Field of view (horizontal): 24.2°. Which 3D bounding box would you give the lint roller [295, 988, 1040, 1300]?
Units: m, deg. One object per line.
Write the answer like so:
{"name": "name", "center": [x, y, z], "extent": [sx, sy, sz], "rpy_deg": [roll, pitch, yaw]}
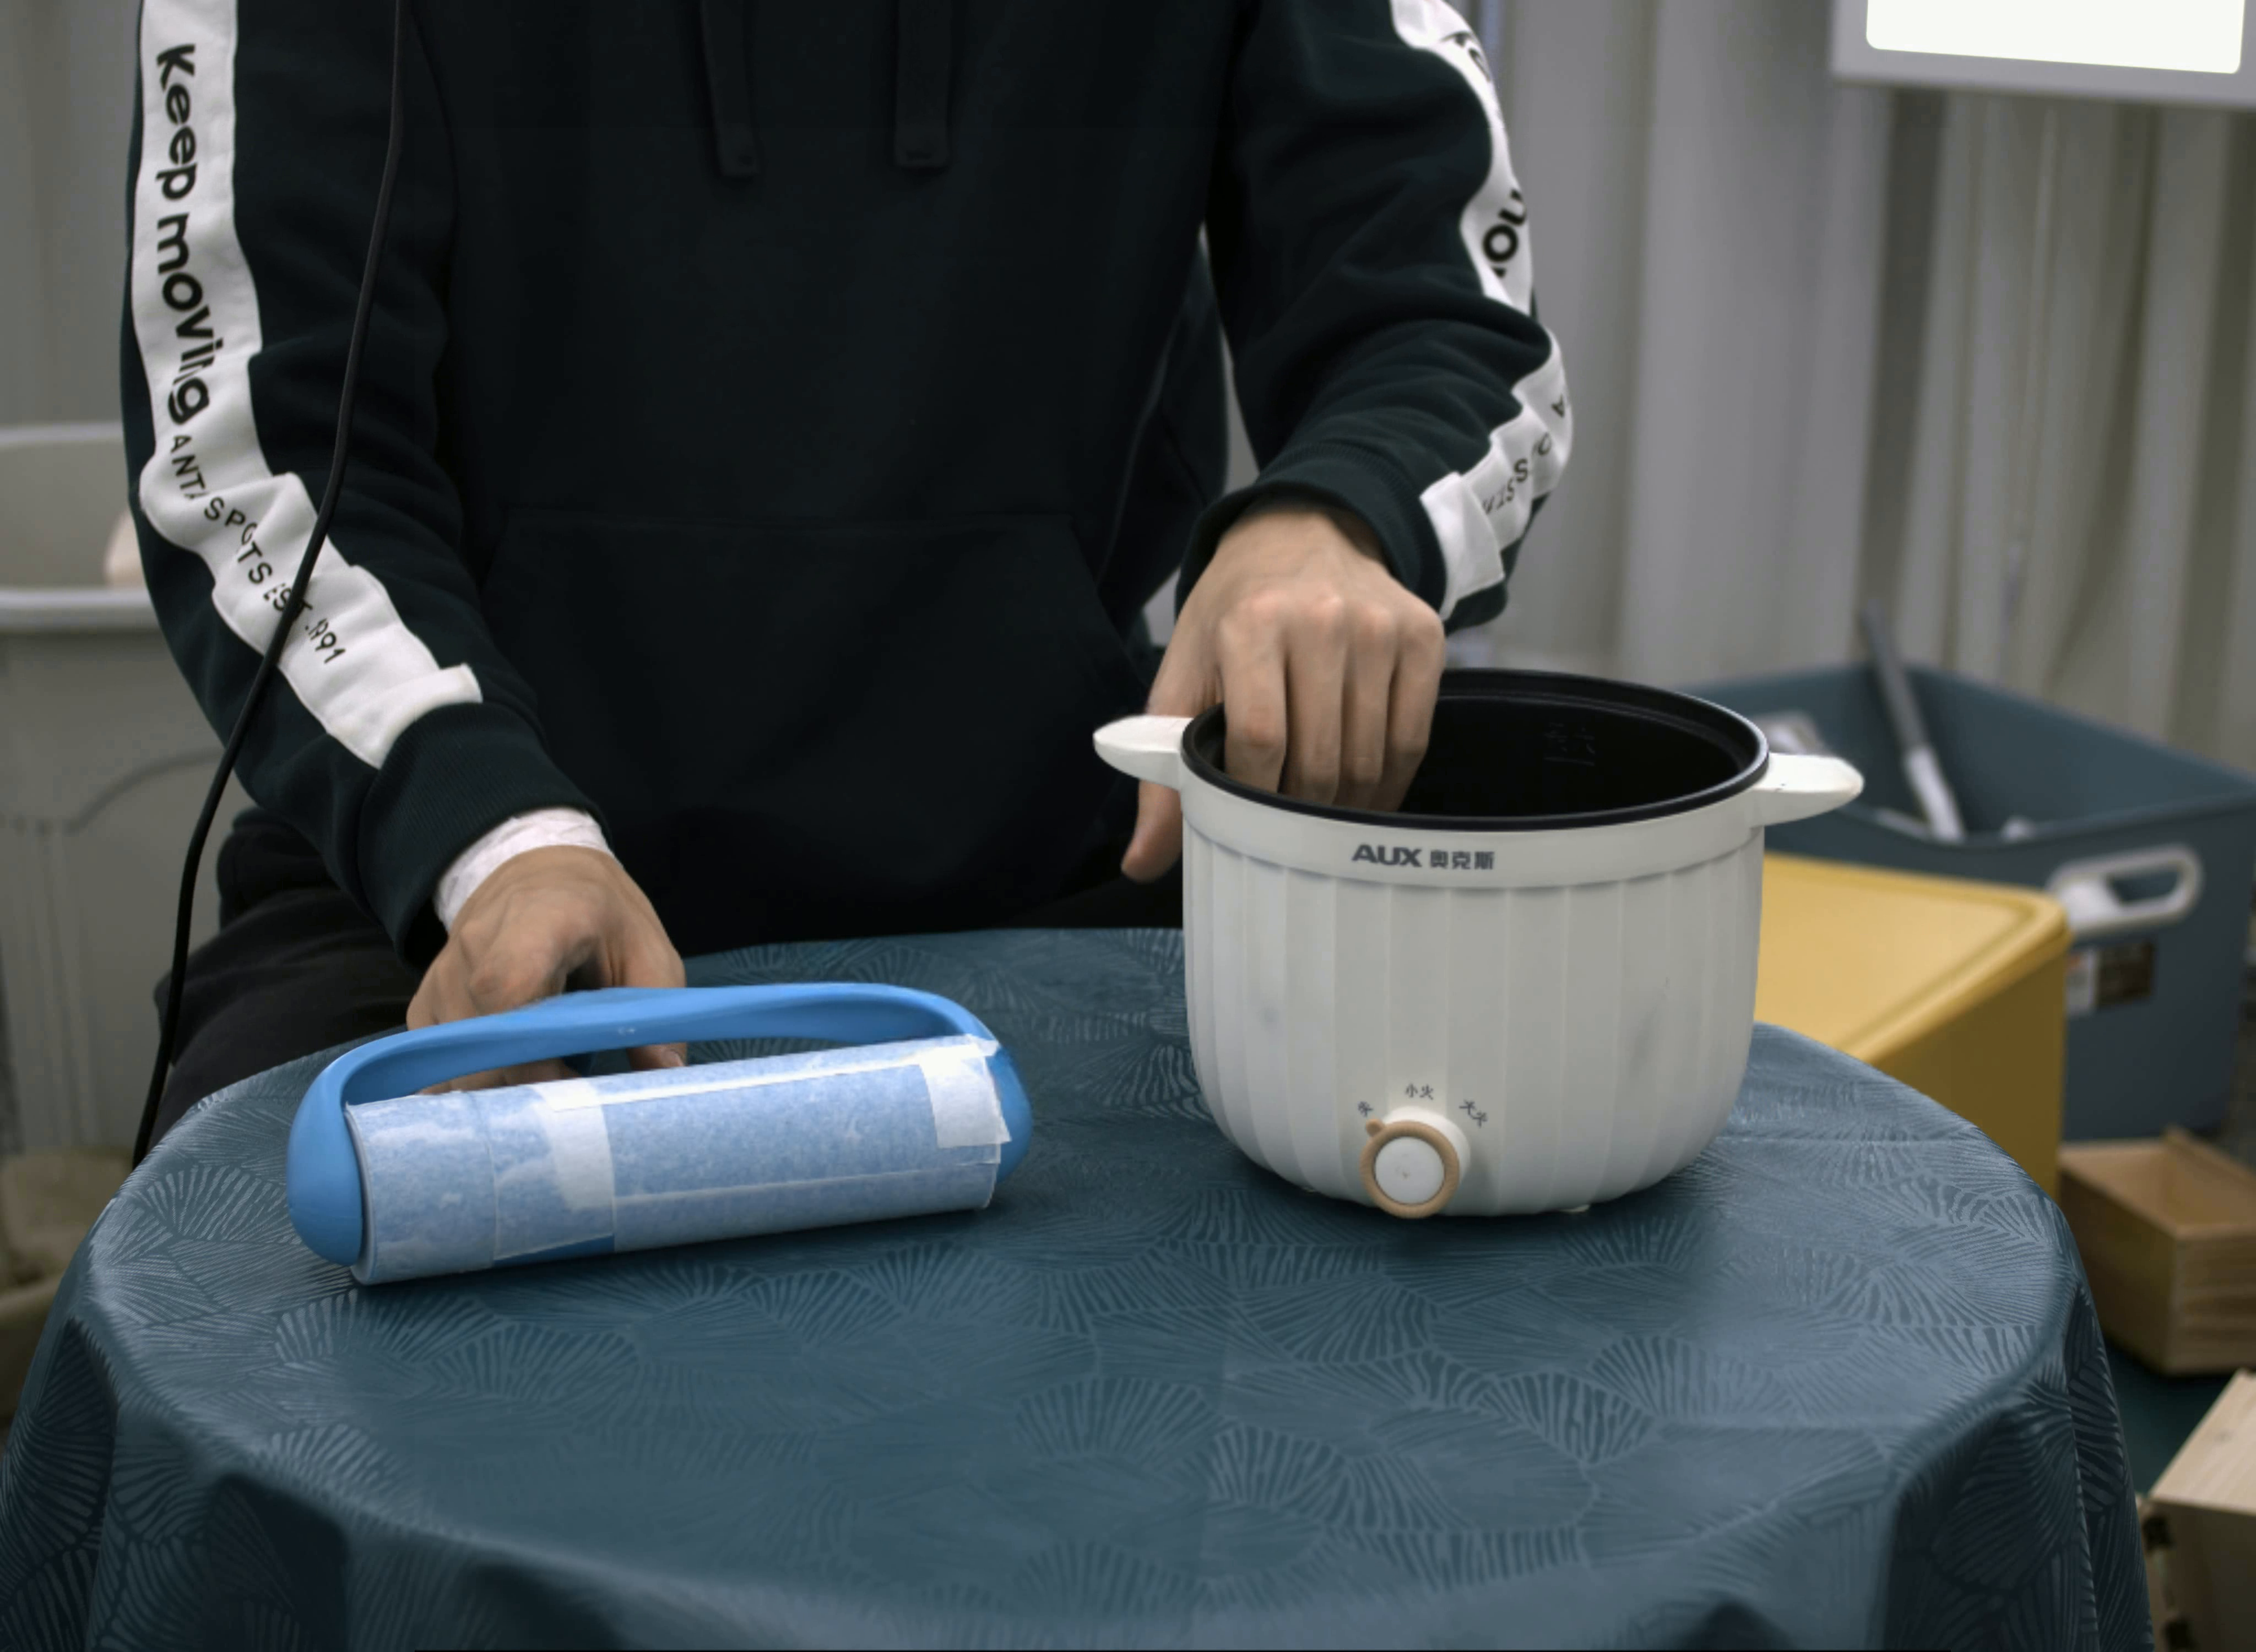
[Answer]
{"name": "lint roller", "center": [-0.159, 0.084, 1.613], "extent": [0.229, 0.068, 0.178], "rpy_deg": [-9, 19, -24]}

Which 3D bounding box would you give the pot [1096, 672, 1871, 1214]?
{"name": "pot", "center": [0.107, 0.039, 1.627], "extent": [0.239, 0.143, 0.190], "rpy_deg": [2, 13, 12]}
